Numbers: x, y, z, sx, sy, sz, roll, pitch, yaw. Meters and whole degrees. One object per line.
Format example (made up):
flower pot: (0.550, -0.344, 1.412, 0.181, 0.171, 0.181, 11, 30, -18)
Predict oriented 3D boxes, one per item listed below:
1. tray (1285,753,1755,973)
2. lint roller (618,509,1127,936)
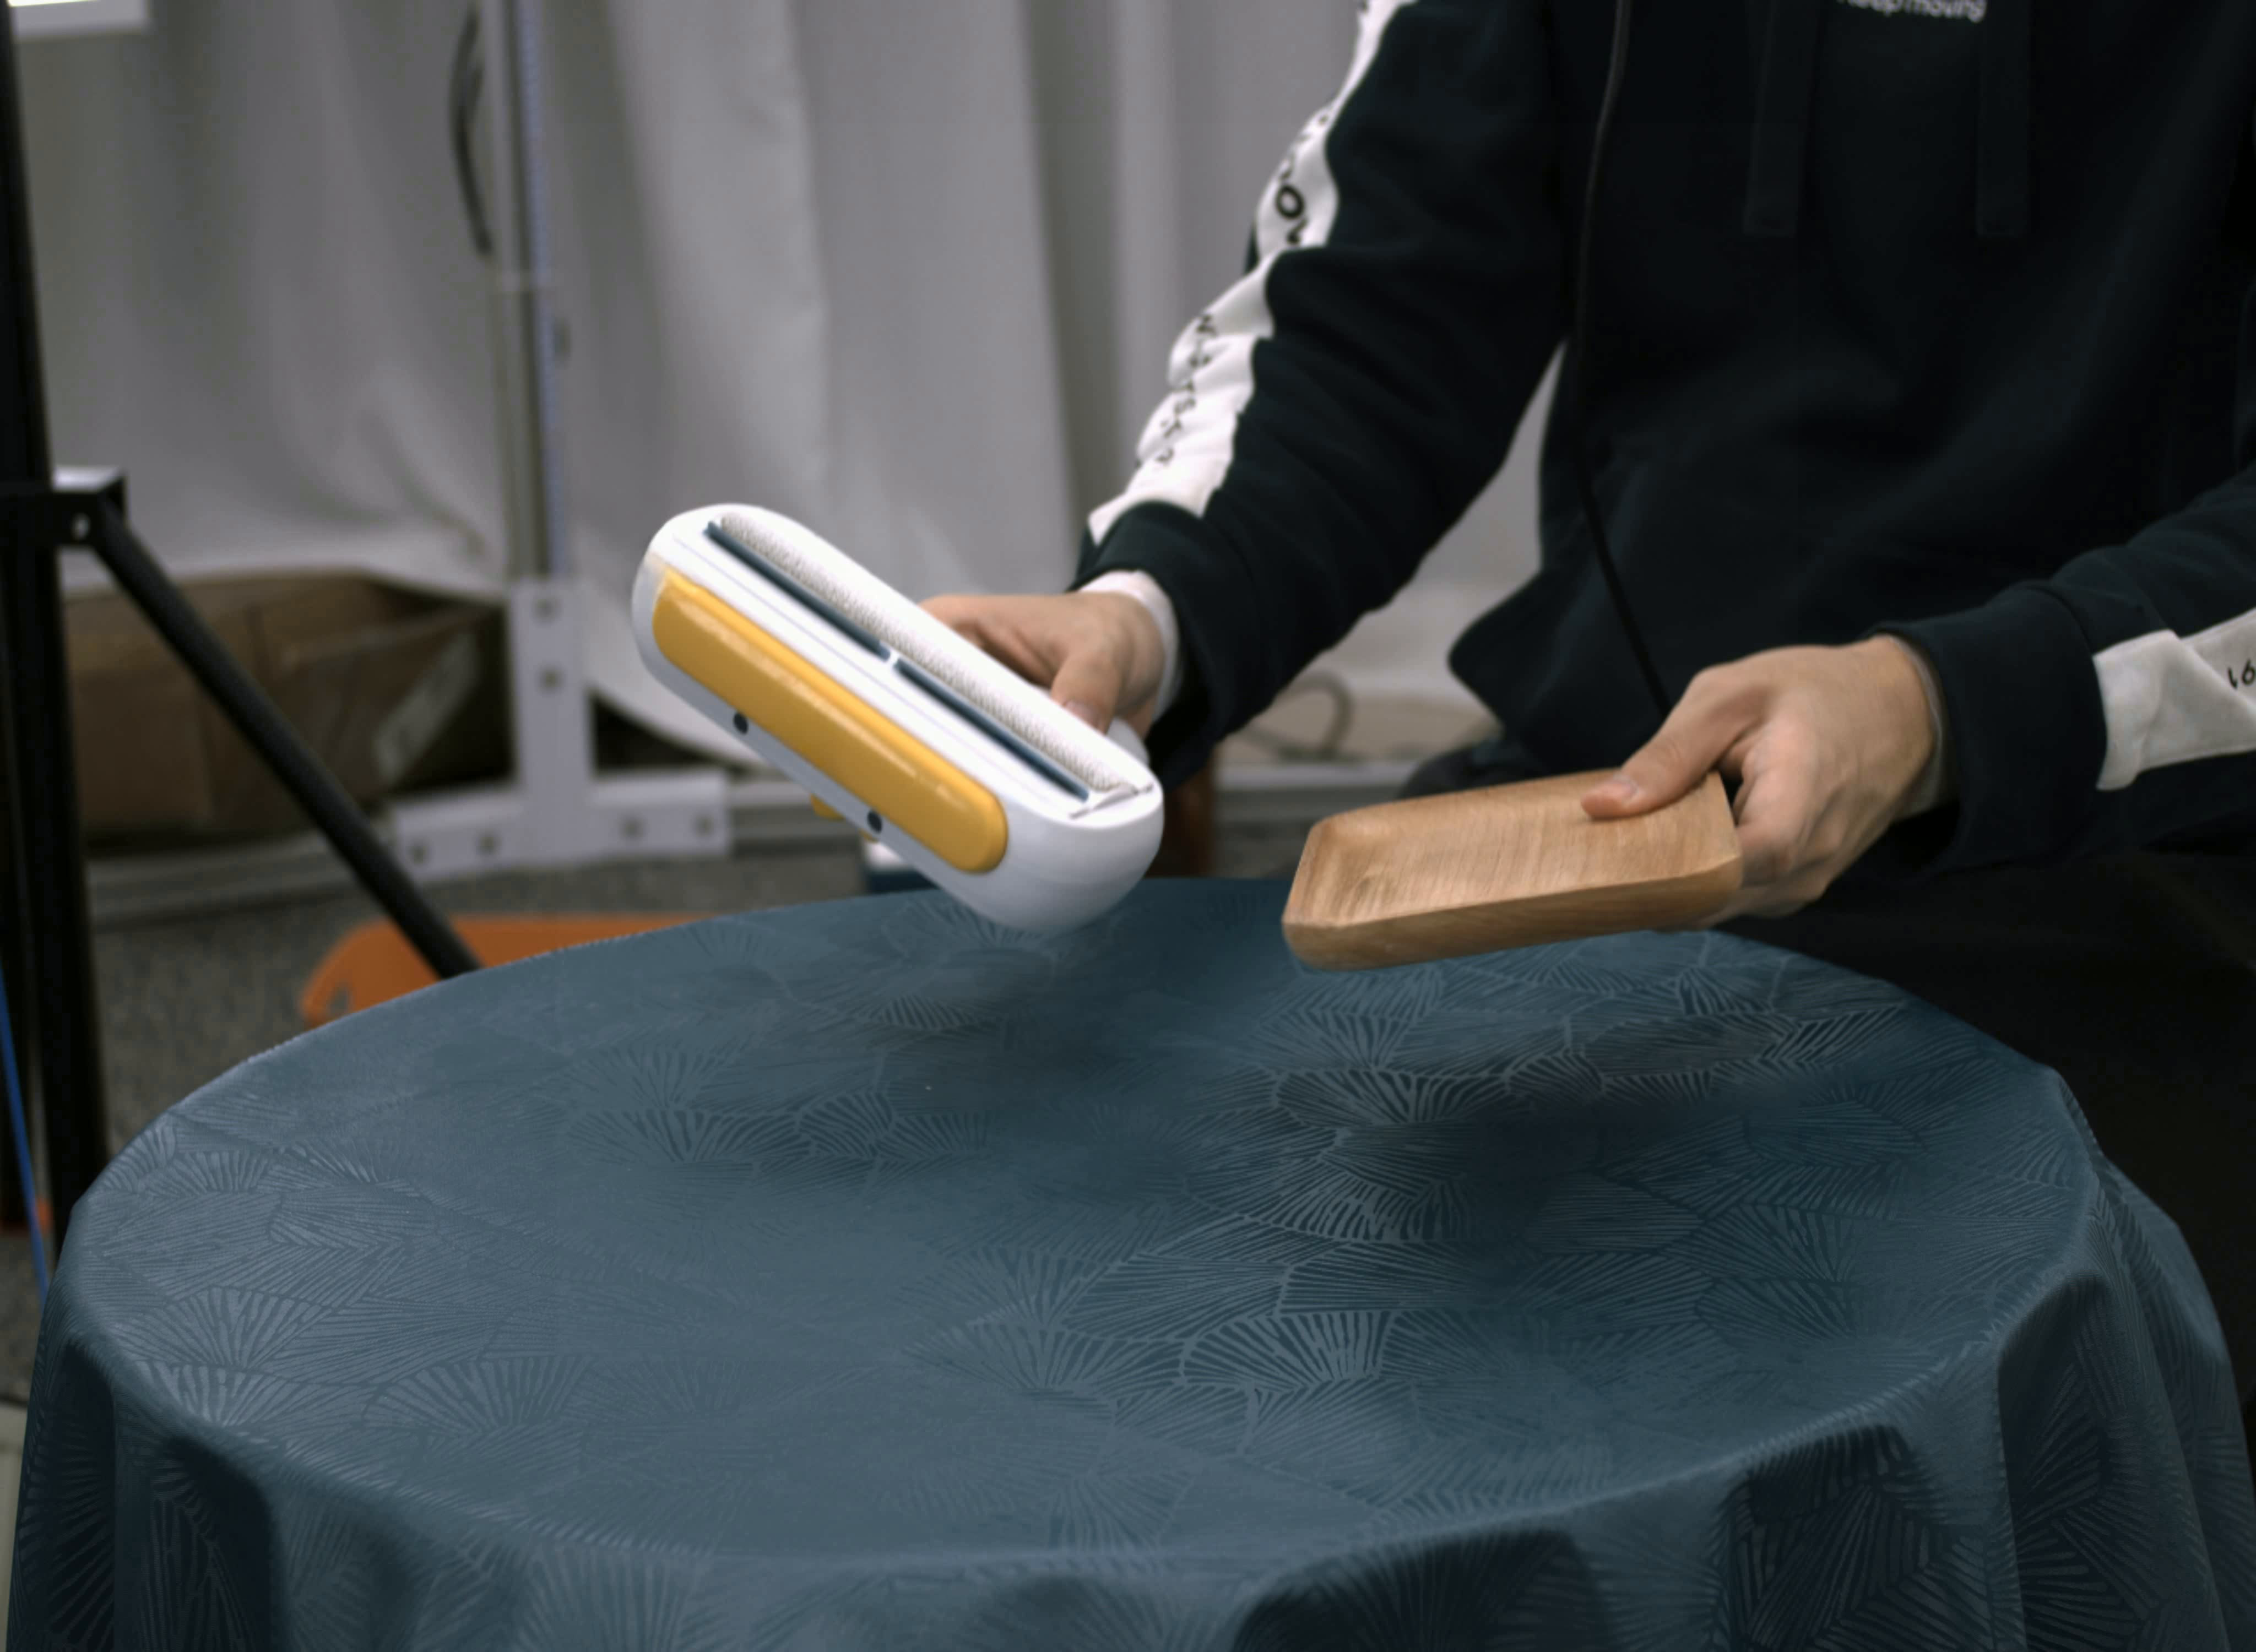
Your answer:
tray: (0.113, 0.009, 1.530, 0.130, 0.023, 0.250, -7, 7, 6)
lint roller: (-0.054, -0.019, 1.694, 0.197, 0.074, 0.187, 34, 10, 33)
